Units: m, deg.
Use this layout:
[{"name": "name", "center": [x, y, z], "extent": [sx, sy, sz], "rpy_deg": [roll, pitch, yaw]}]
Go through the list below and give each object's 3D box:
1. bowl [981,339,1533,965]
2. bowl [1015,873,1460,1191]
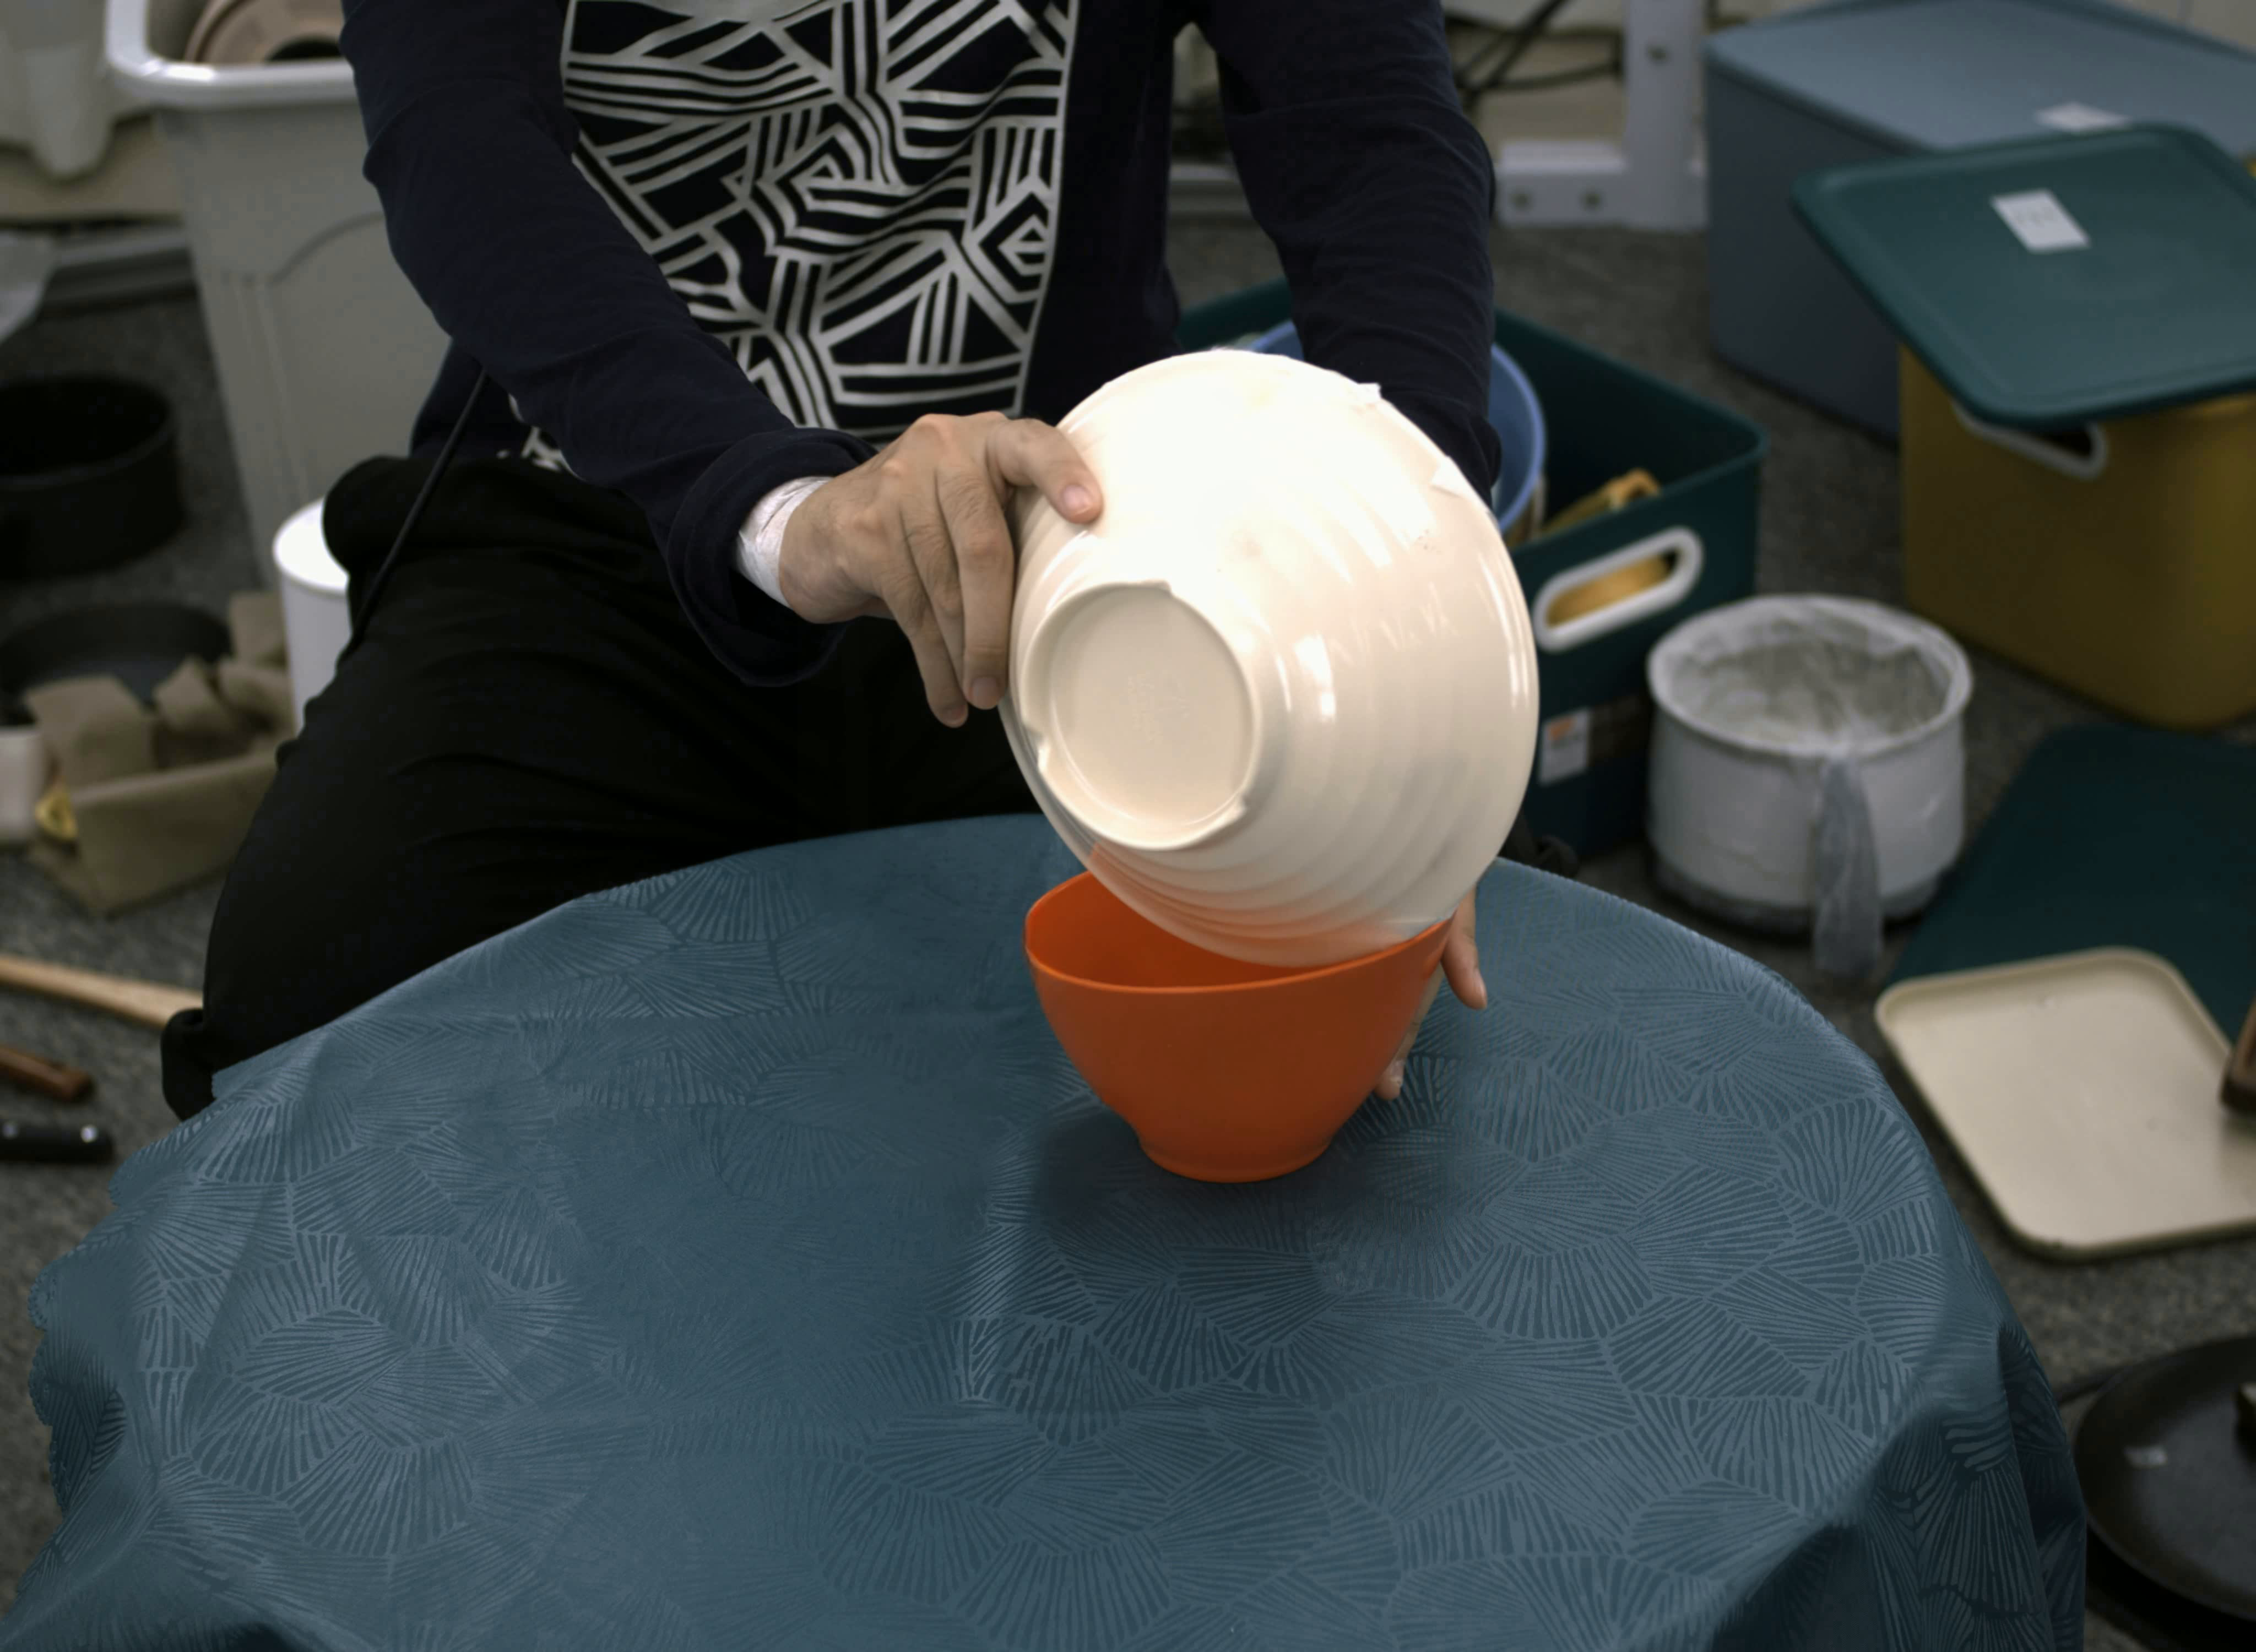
[{"name": "bowl", "center": [0.021, -0.047, 1.771], "extent": [0.203, 0.203, 0.079], "rpy_deg": [13, 18, 28]}, {"name": "bowl", "center": [0.038, 0.065, 1.861], "extent": [0.147, 0.103, 0.150], "rpy_deg": [-3, 25, 2]}]
